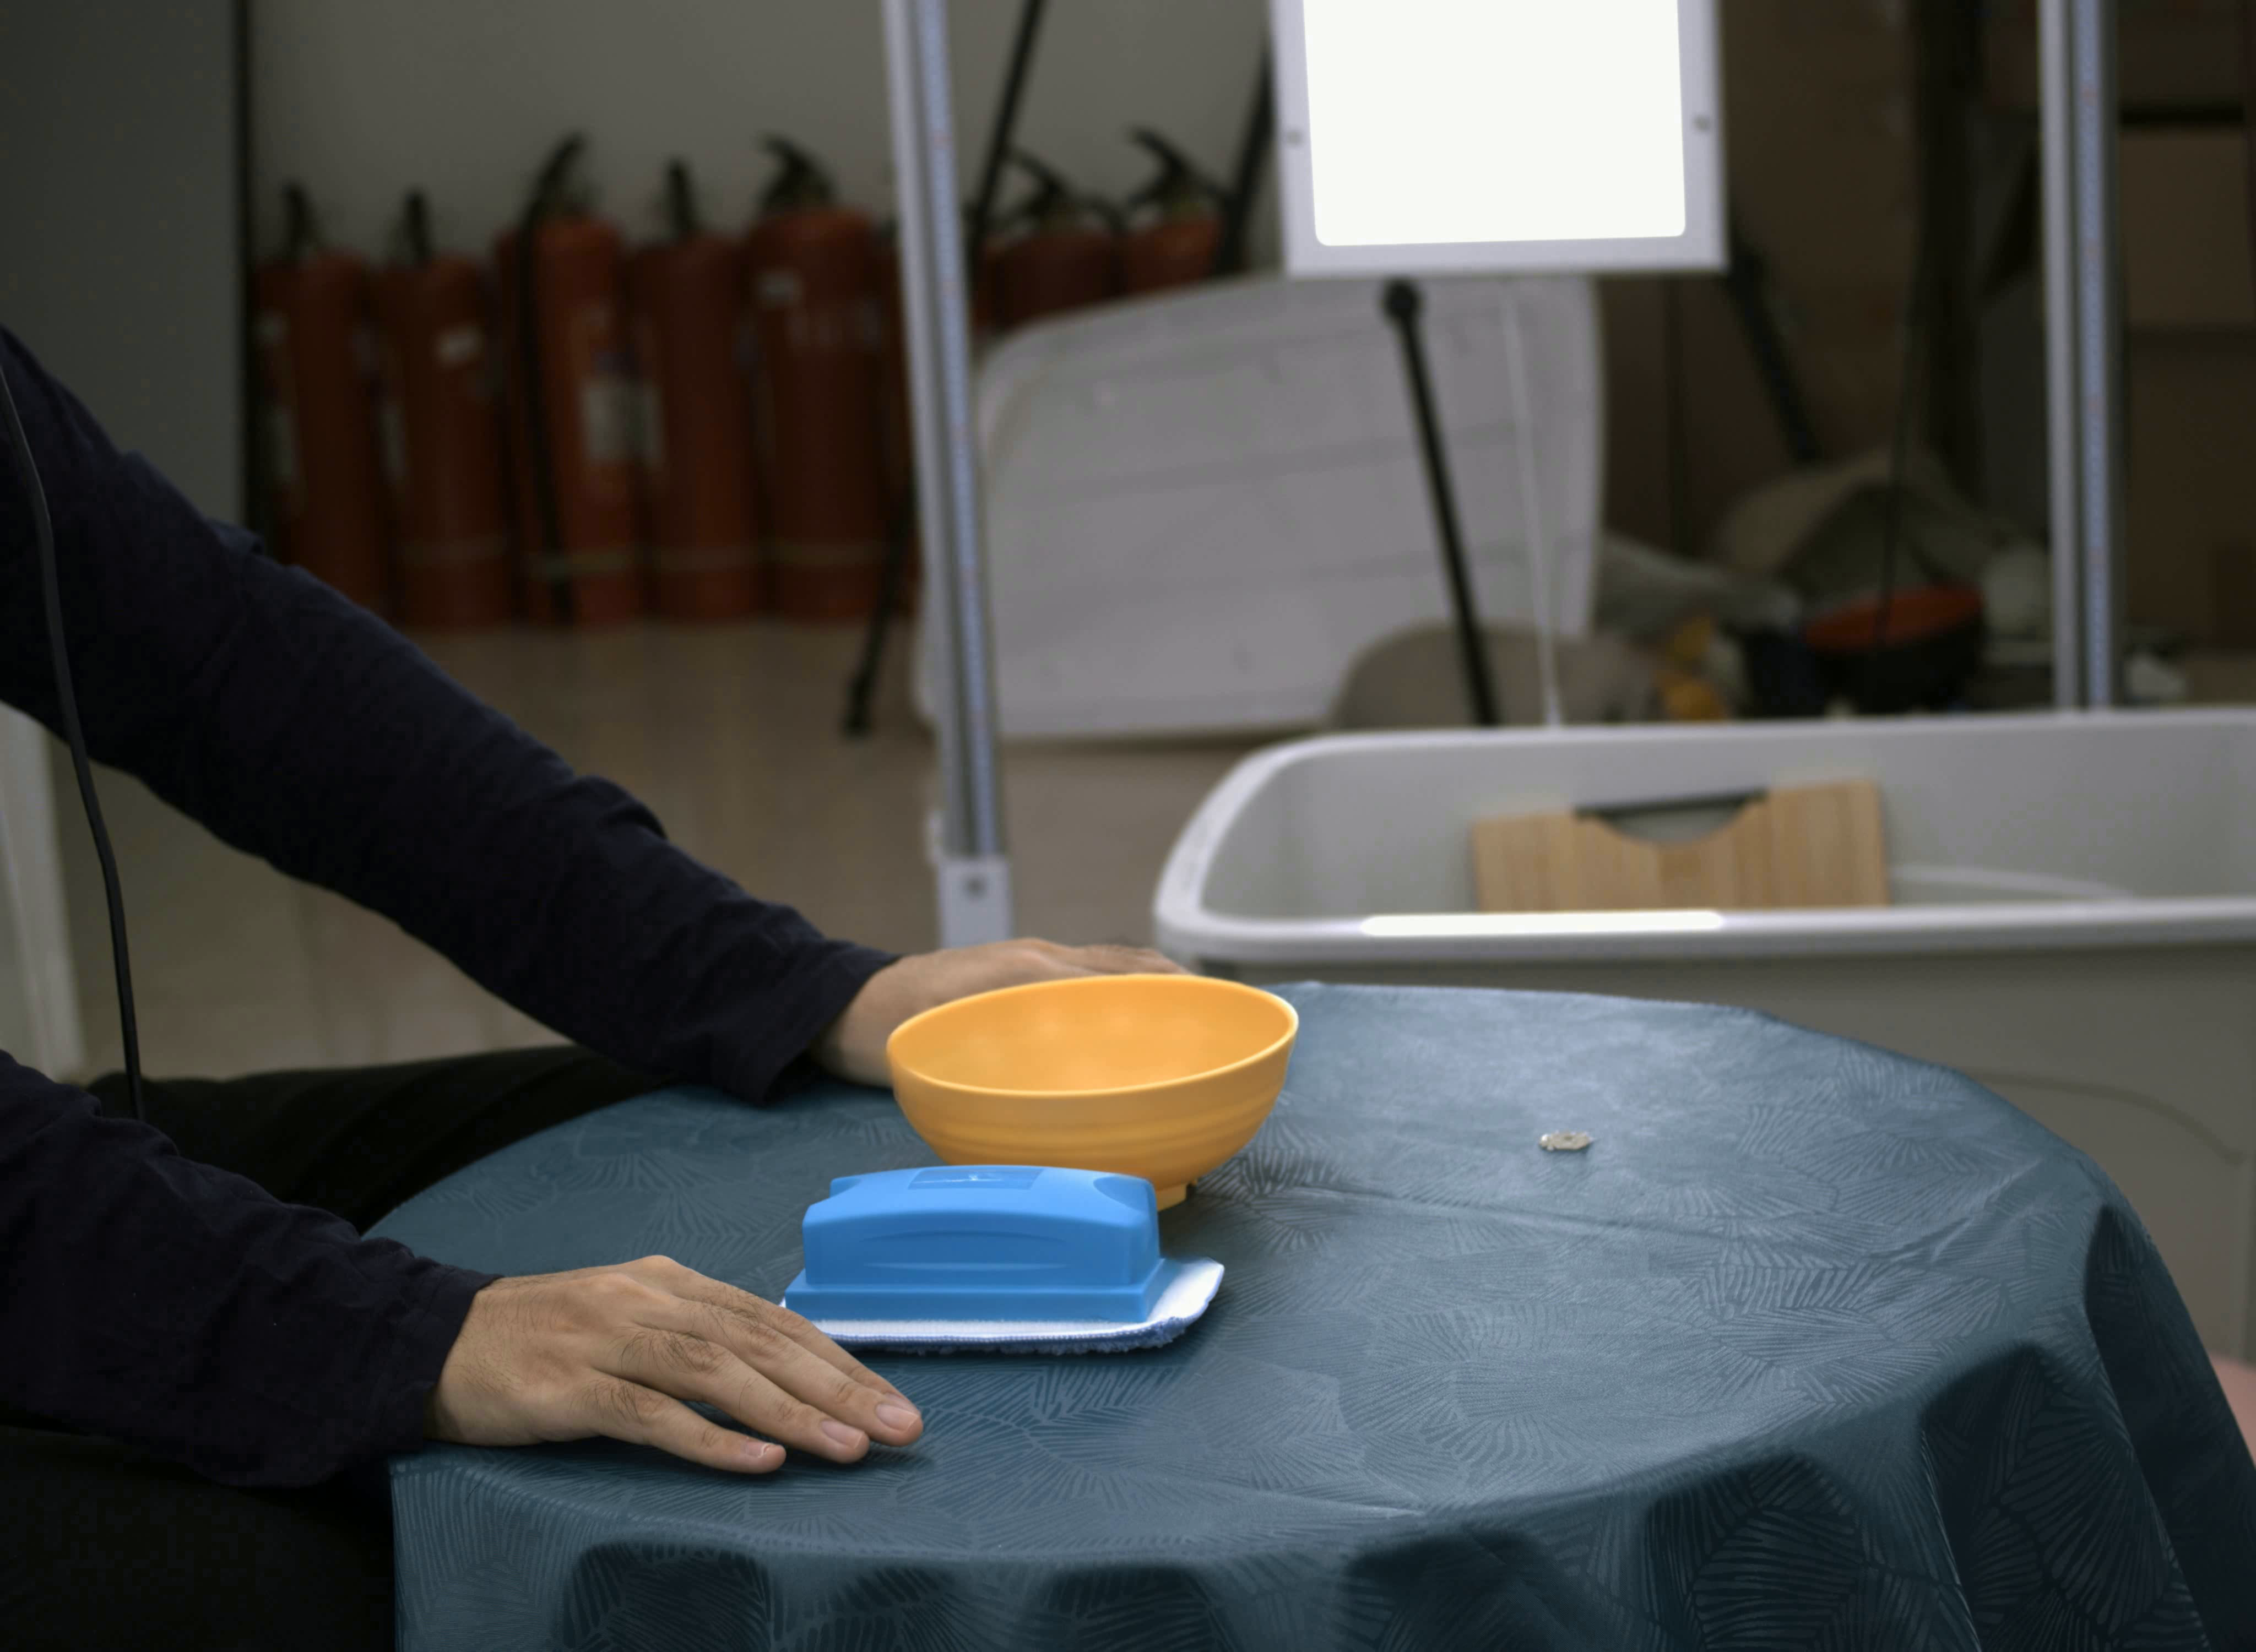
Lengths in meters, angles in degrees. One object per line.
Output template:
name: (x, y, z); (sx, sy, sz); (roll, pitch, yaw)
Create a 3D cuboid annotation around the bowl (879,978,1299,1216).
bowl: (-0.012, 0.100, 1.895); (0.145, 0.060, 0.145); (-3, 14, -1)

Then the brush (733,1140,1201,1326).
brush: (-0.051, 0.131, 1.770); (0.145, 0.056, 0.082); (2, 11, 18)
